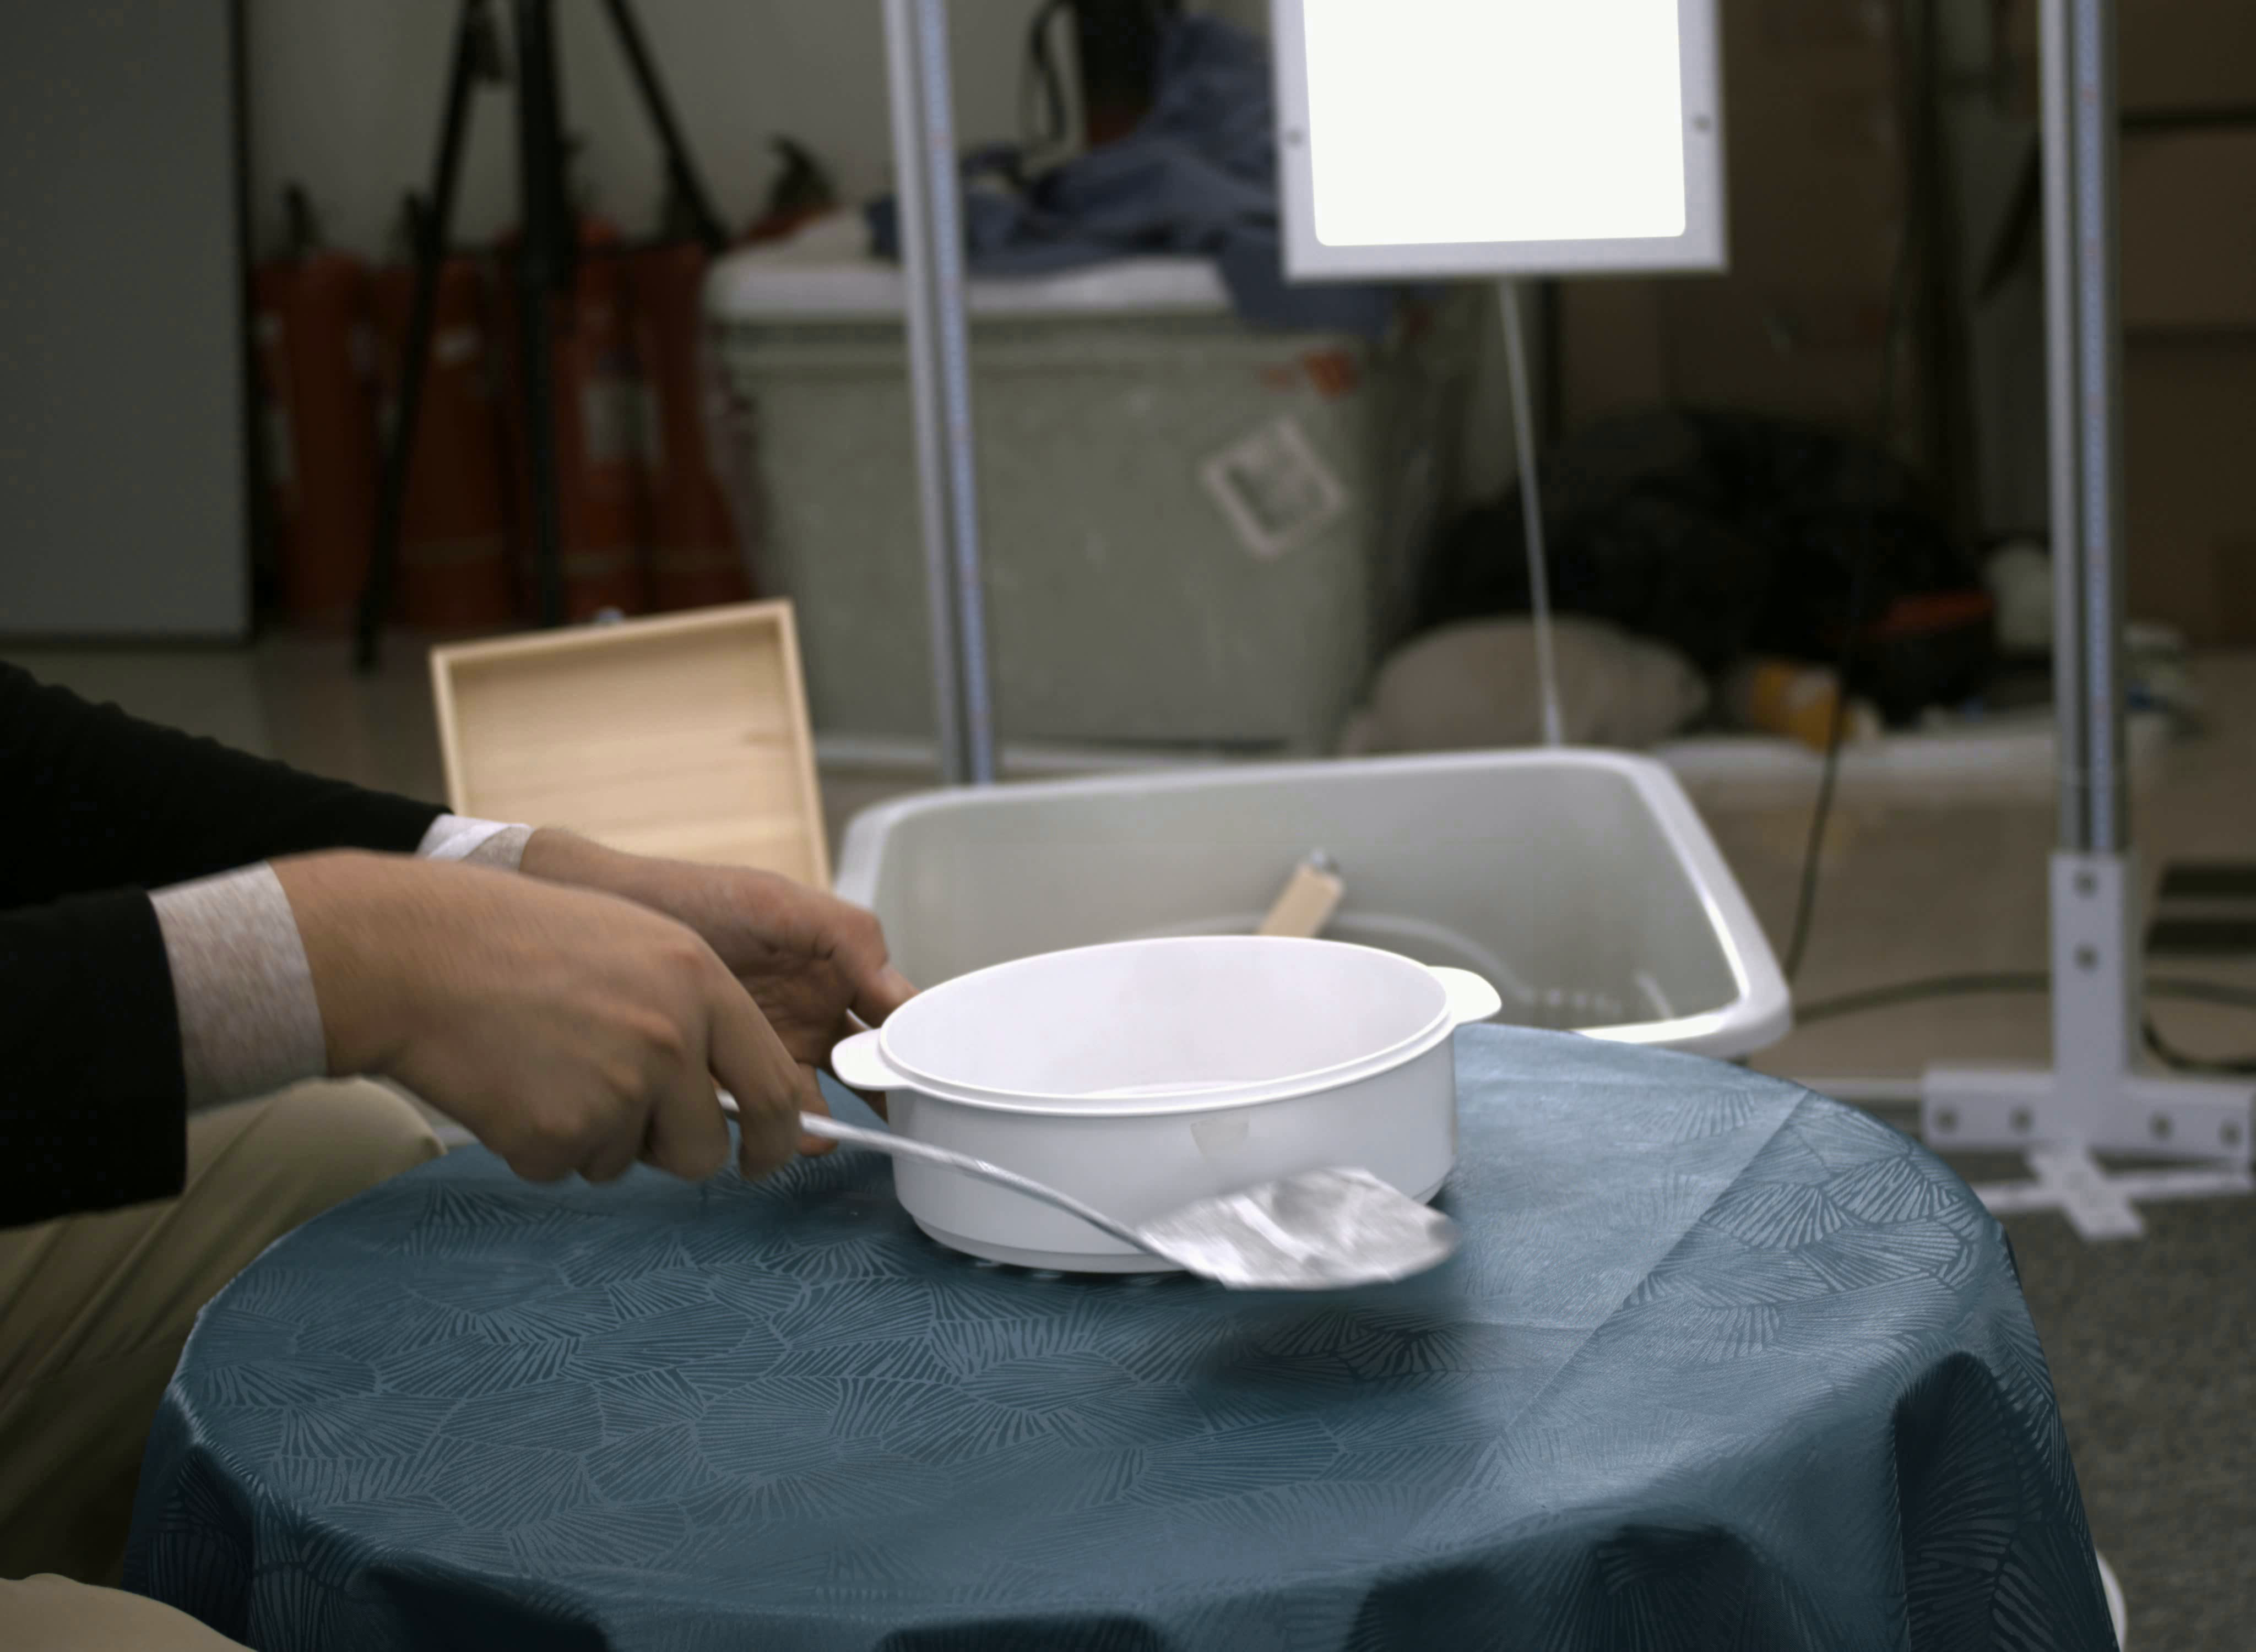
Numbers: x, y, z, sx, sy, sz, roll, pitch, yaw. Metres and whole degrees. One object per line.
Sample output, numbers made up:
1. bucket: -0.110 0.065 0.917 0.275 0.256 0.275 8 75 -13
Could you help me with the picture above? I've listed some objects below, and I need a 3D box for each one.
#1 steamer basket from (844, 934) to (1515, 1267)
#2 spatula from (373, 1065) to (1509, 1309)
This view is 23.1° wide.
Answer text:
1. steamer basket: 0.020 0.094 1.877 0.229 0.069 0.202 -7 13 -5
2. spatula: -0.052 0.101 1.660 0.358 0.045 0.100 16 7 -25
